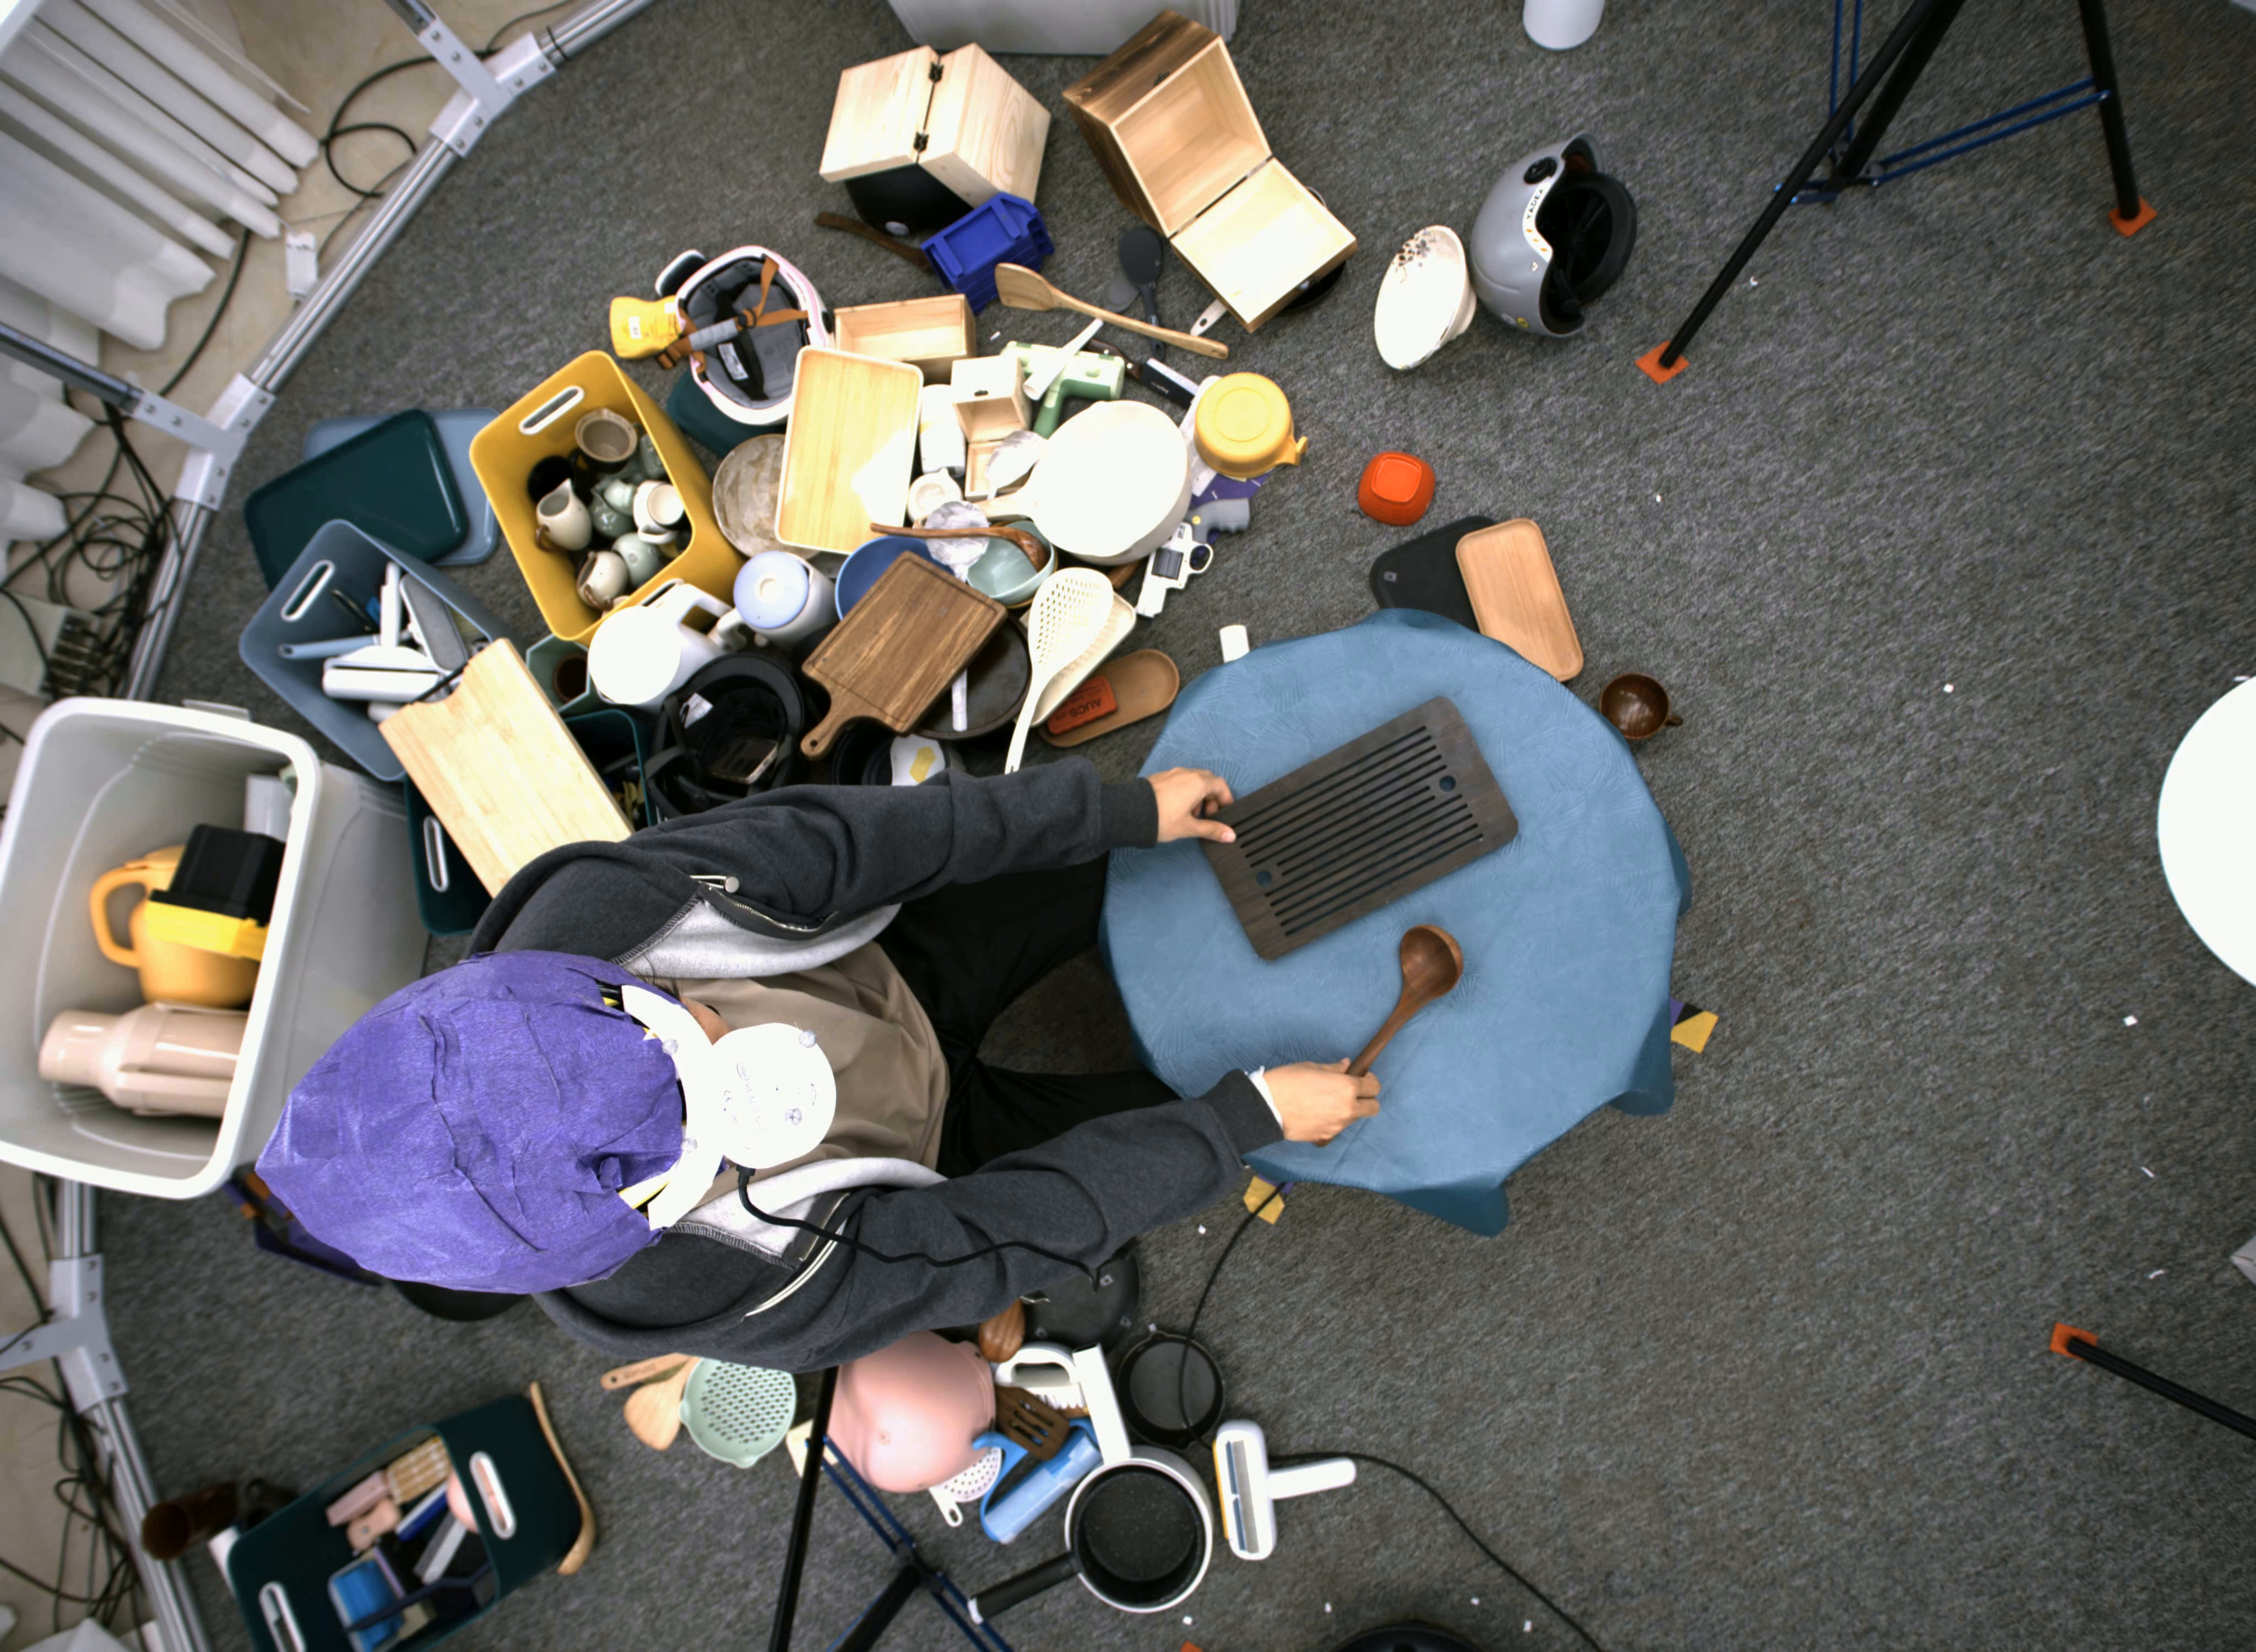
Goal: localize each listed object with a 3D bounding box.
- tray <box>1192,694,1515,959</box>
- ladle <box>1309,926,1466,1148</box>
[{"bbox_3d":[0.236,0.000,1.456,0.308,0.018,0.169,-27,86,8],"label":"tray"},{"bbox_3d":[0.257,0.216,1.421,0.076,0.065,0.261,38,94,39],"label":"ladle"}]
